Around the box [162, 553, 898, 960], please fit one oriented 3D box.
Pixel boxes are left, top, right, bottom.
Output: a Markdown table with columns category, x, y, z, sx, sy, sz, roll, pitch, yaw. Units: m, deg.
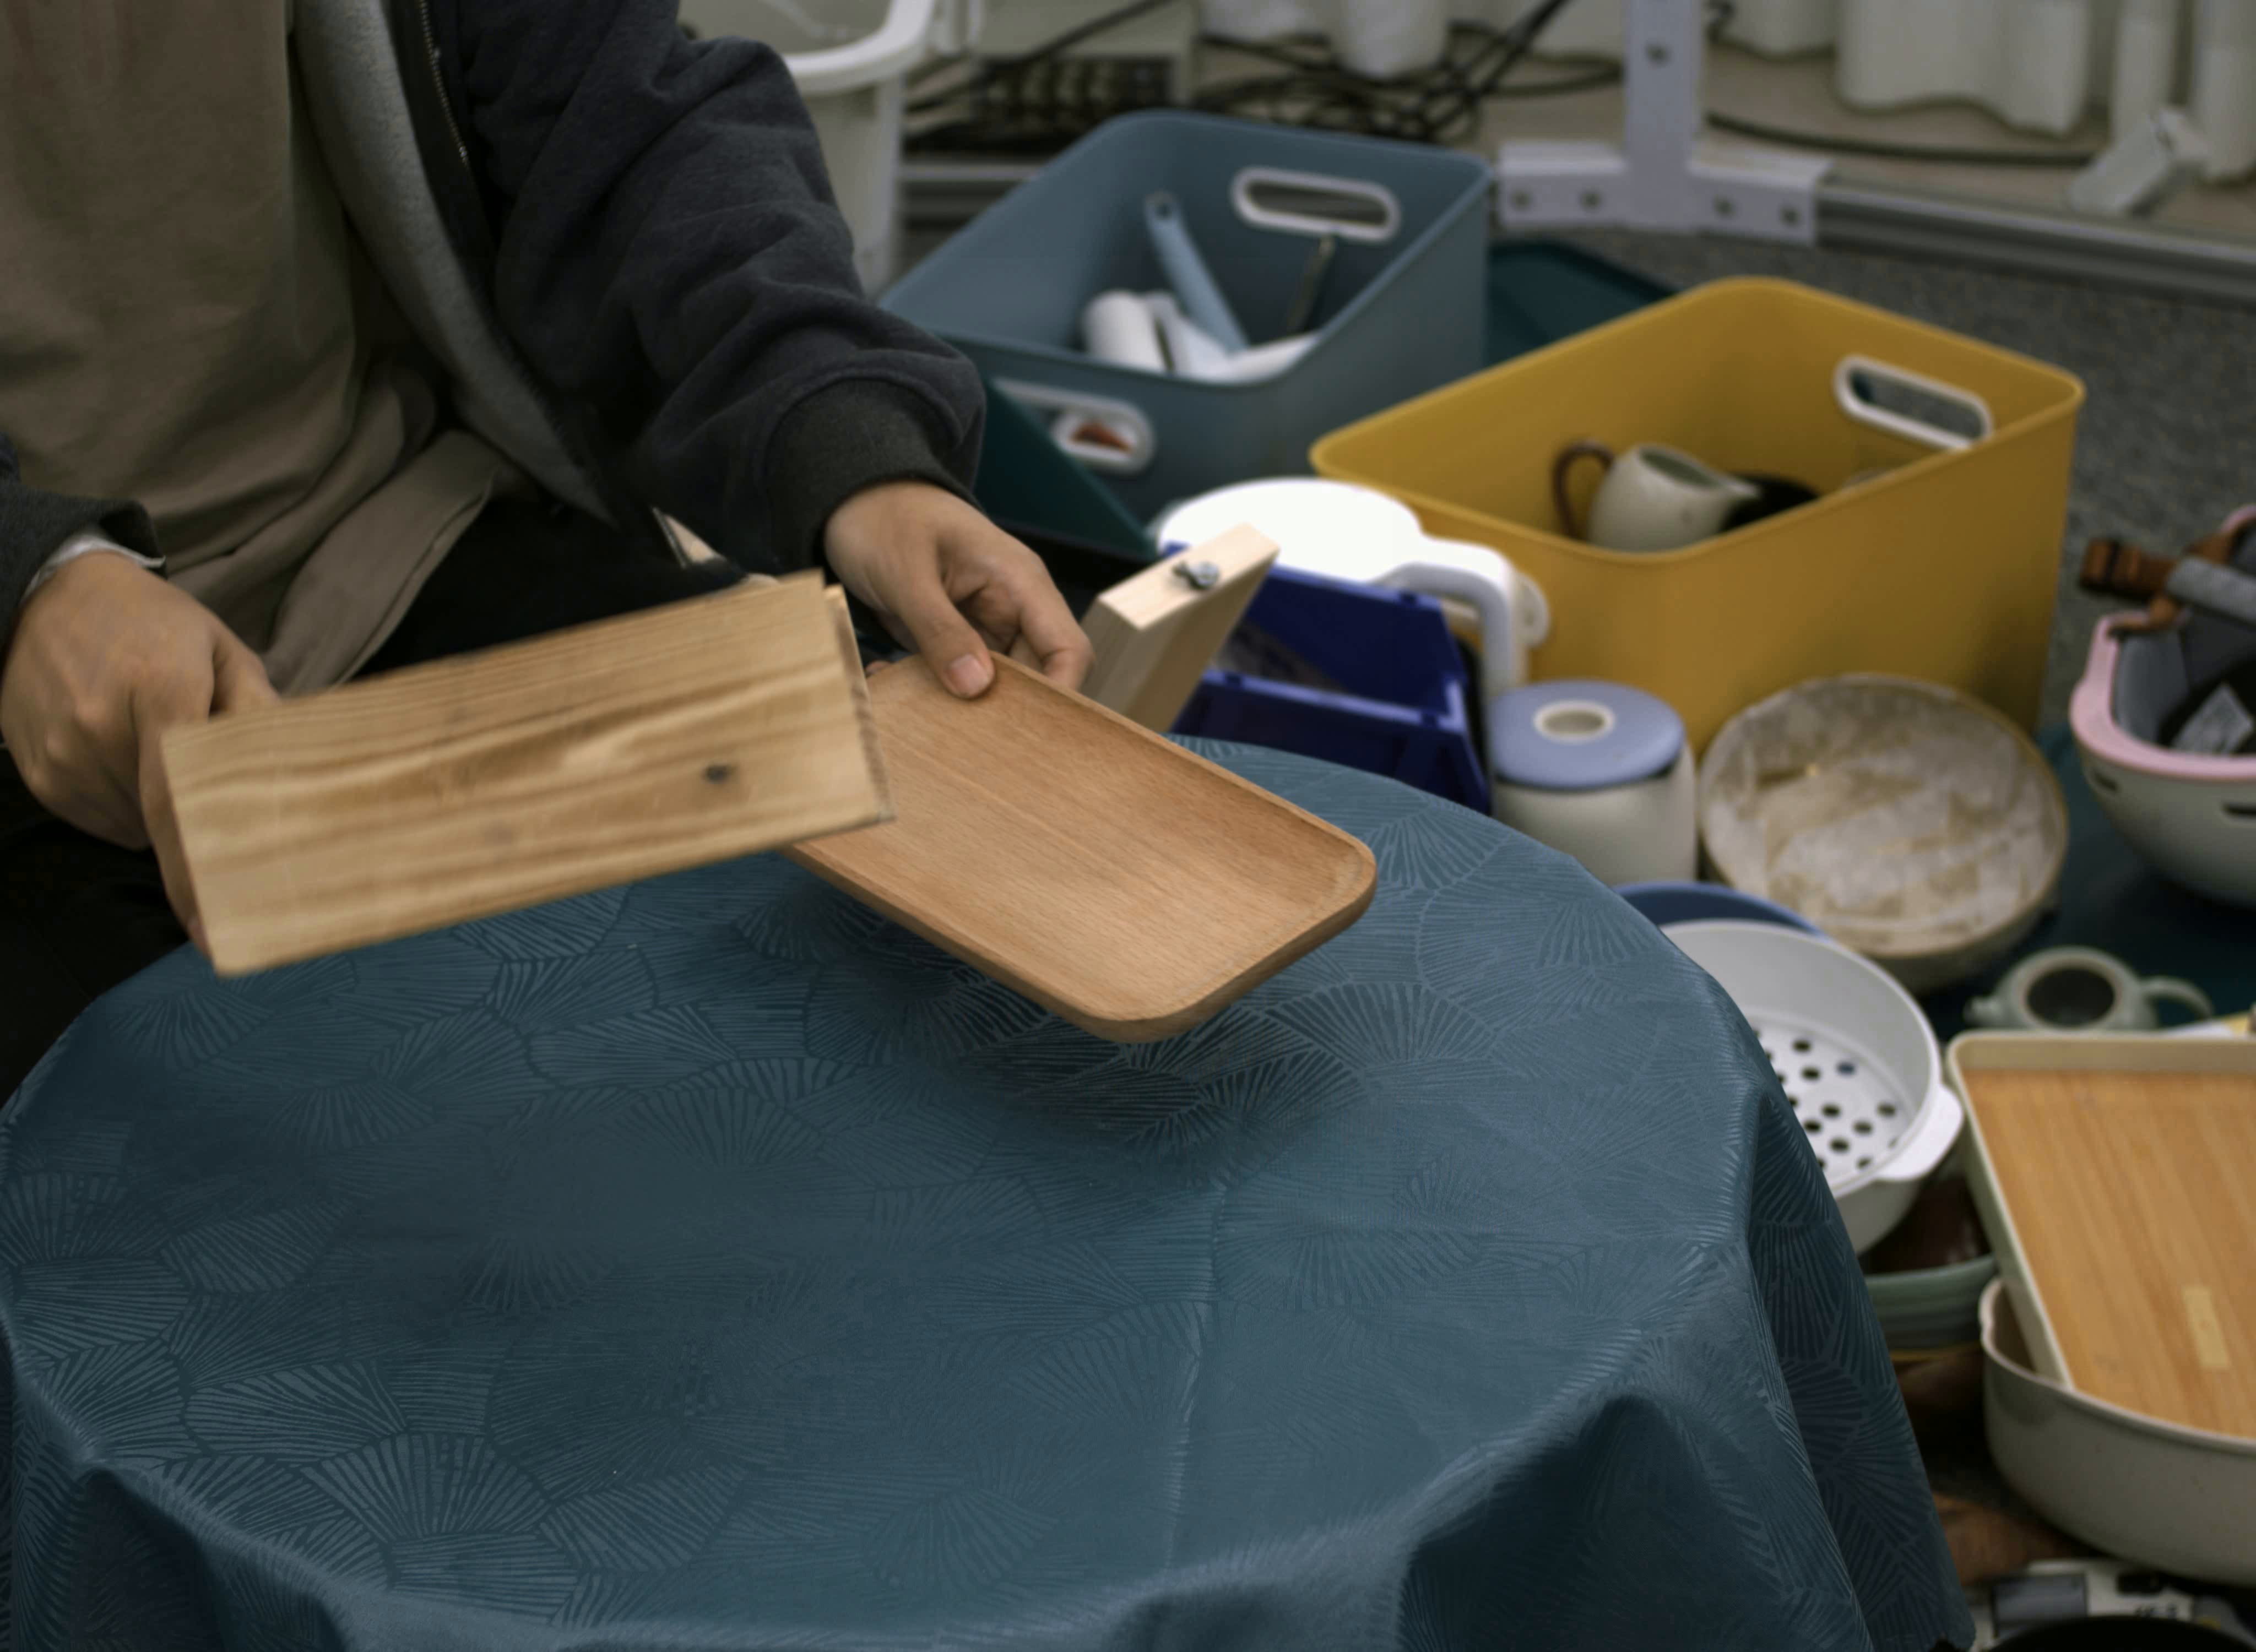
| category | x | y | z | sx | sy | sz | roll | pitch | yaw |
| --- | --- | --- | --- | --- | --- | --- | --- | --- | --- |
| box | -0.186 | -0.020 | 1.778 | 0.210 | 0.080 | 0.107 | -14 | -2 | -1 |

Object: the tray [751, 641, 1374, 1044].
| category | x | y | z | sx | sy | sz | roll | pitch | yaw |
| --- | --- | --- | --- | --- | --- | --- | --- | --- | --- |
| tray | -0.032 | 0.004 | 1.967 | 0.132 | 0.022 | 0.251 | -28 | 37 | -30 |
